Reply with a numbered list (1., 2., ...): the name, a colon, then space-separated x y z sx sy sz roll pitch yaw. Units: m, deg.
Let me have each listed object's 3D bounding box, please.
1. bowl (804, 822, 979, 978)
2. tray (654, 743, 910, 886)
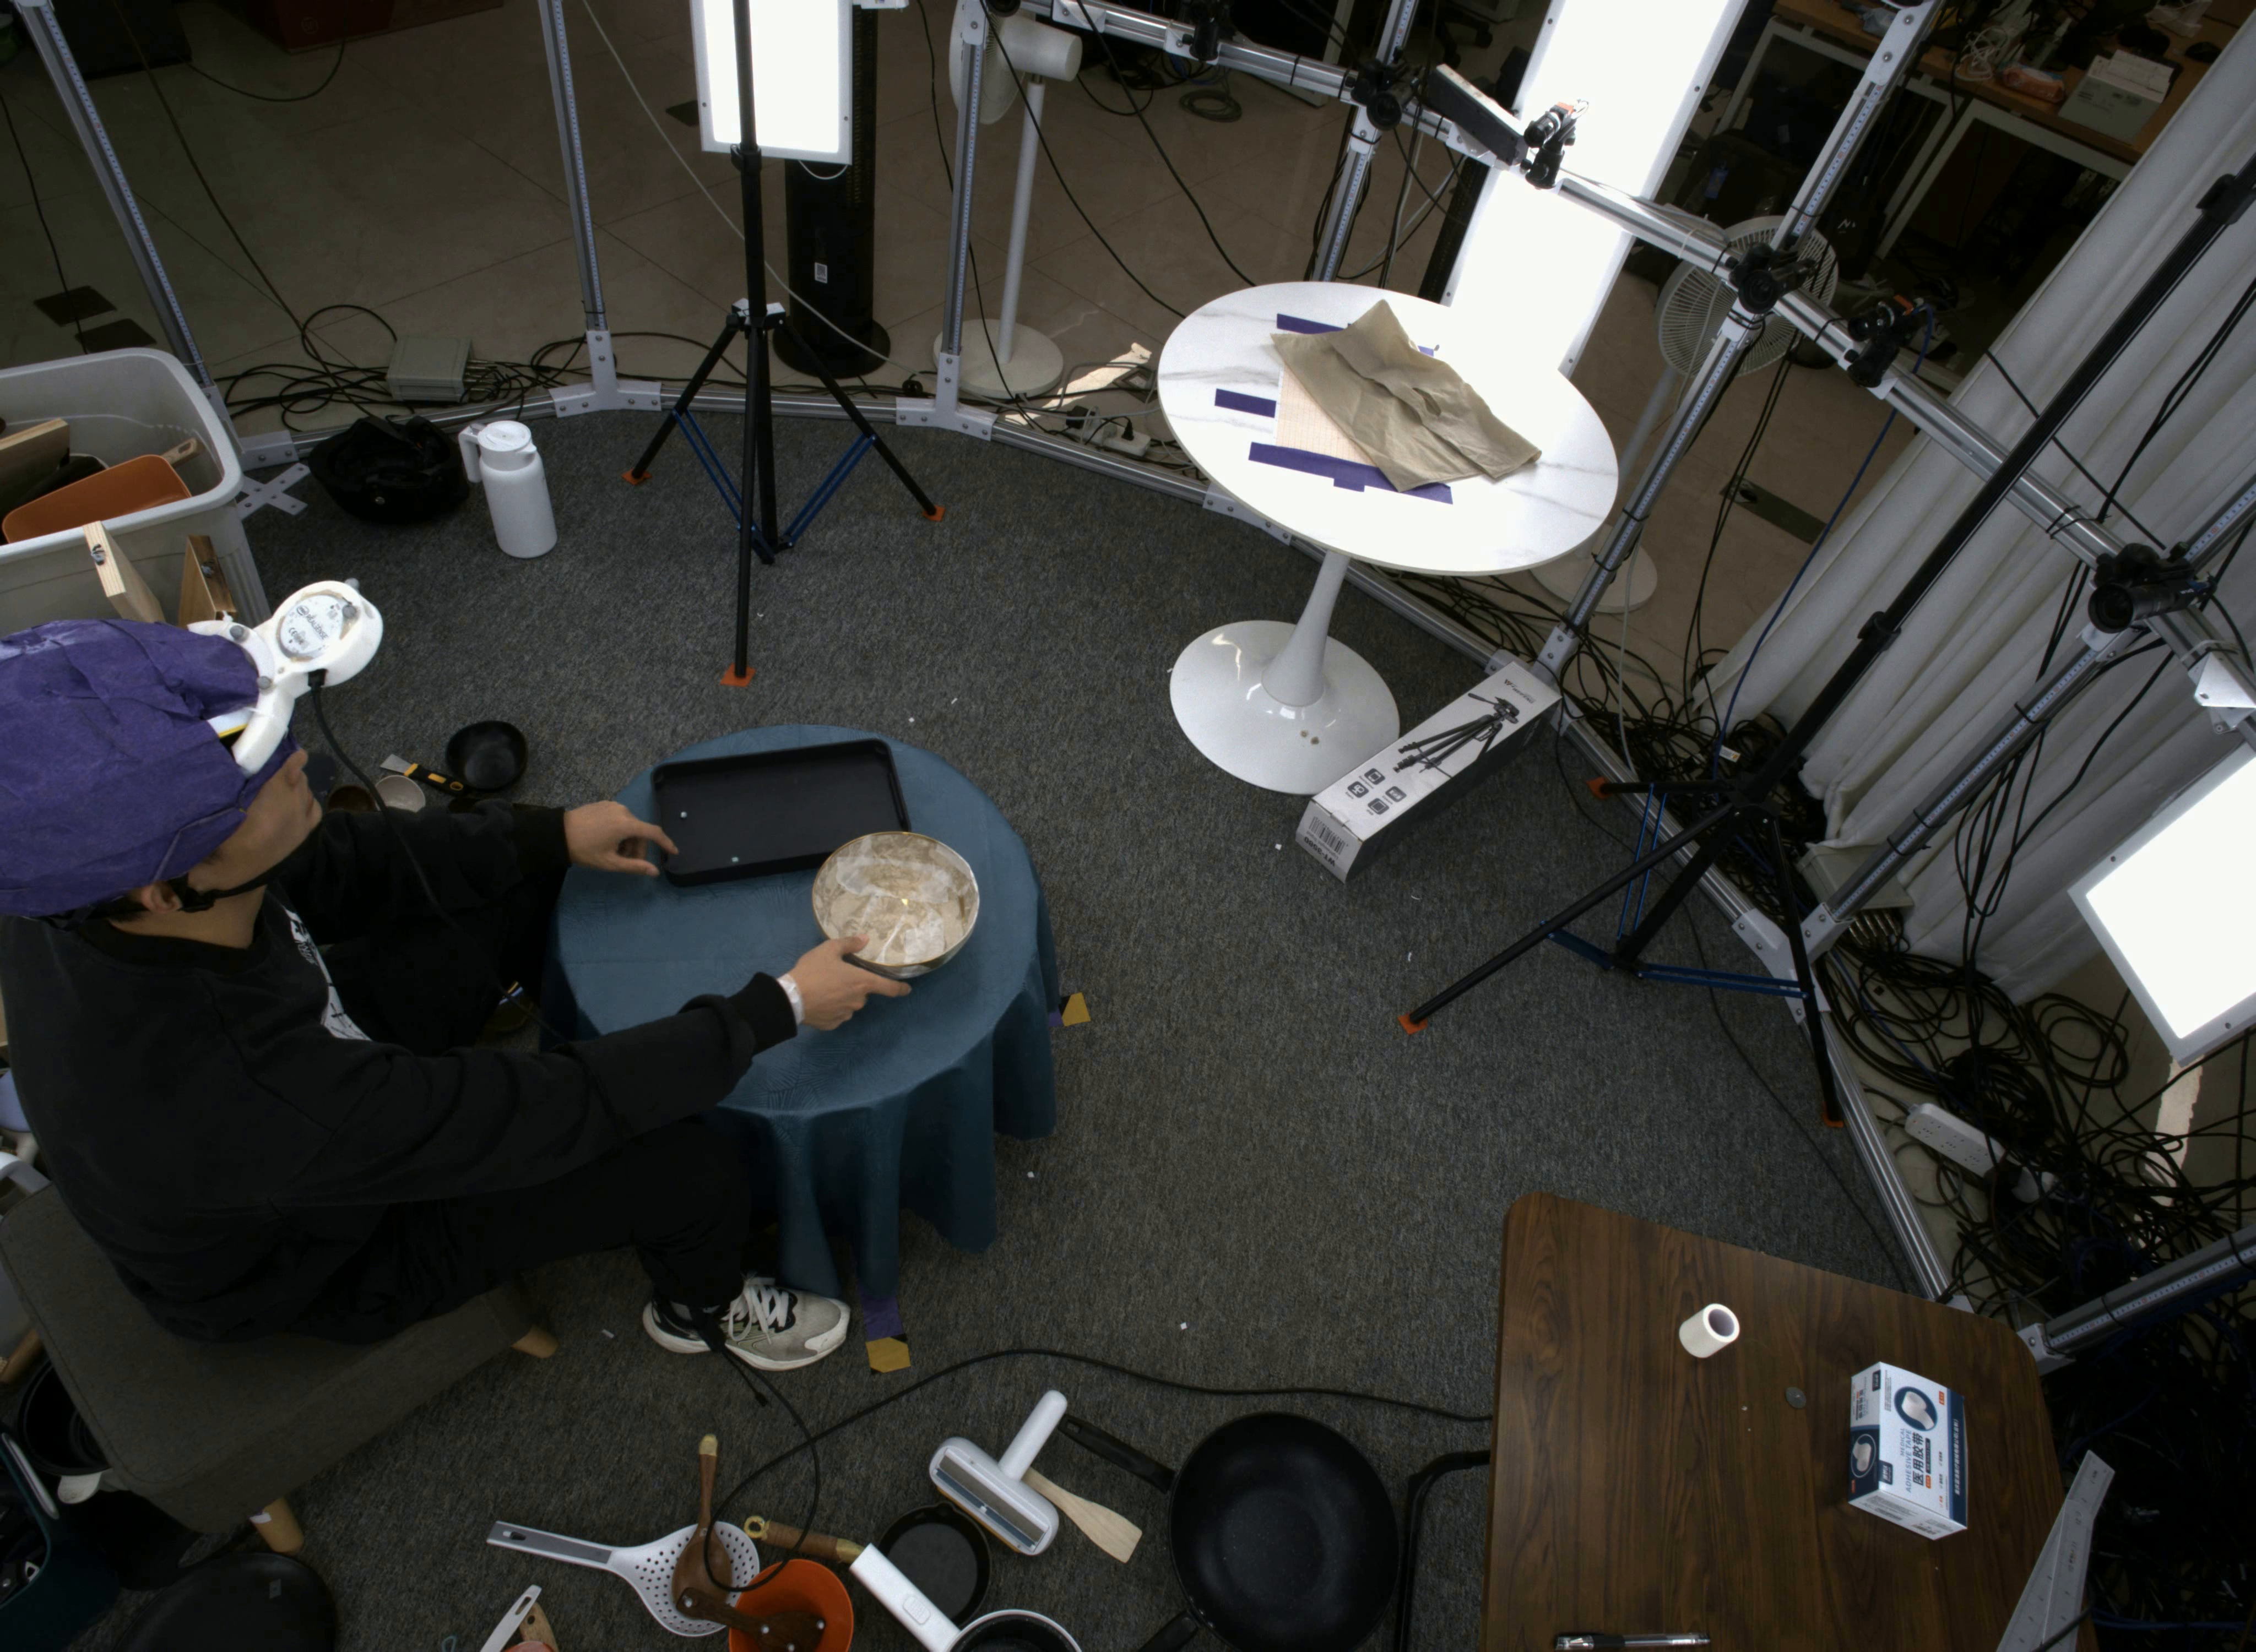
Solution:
1. bowl: -0.294 0.107 1.622 0.214 0.096 0.211 8 53 -9
2. tray: -0.458 -0.020 1.715 0.319 0.038 0.180 -6 55 -20
